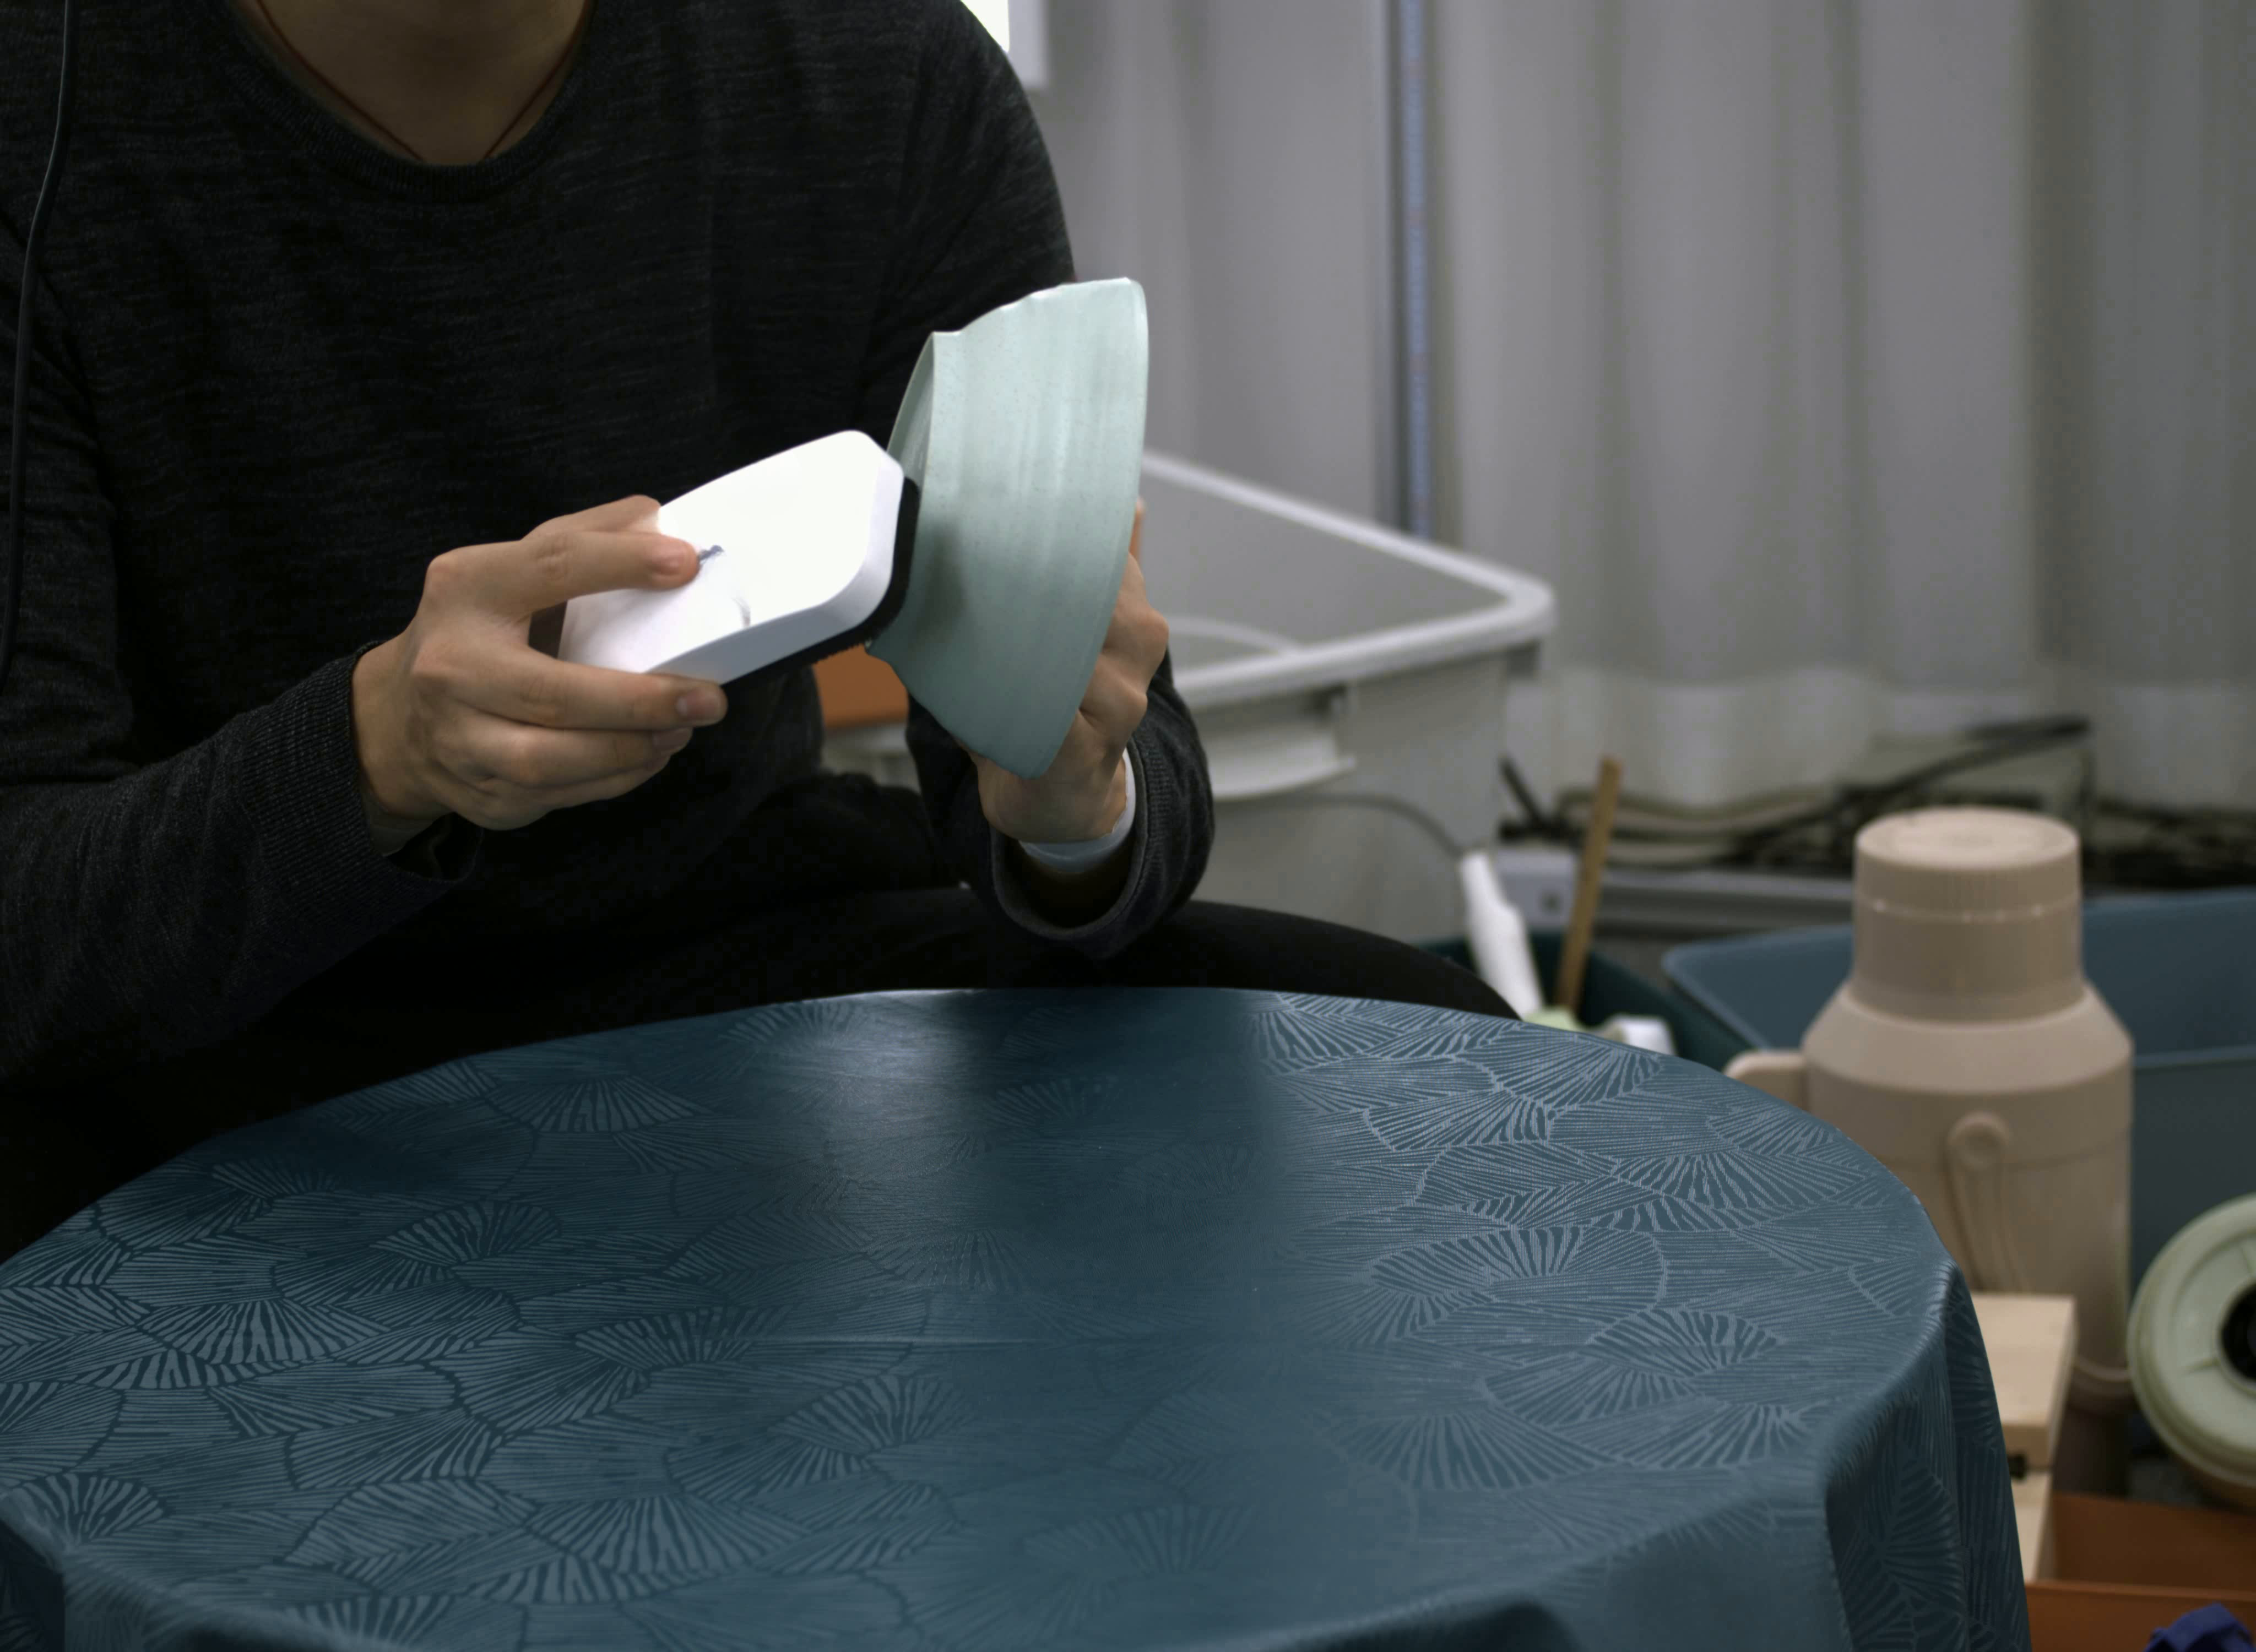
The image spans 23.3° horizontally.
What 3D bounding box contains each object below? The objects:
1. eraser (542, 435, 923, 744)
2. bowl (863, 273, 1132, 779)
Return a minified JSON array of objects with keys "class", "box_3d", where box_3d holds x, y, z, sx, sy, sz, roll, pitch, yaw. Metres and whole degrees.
[{"class":"eraser","box_3d":[-0.117,-0.069,1.592,0.131,0.064,0.034,-20,-43,37]},{"class":"bowl","box_3d":[-0.042,-0.093,1.617,0.058,0.151,0.152,10,13,-9]}]
